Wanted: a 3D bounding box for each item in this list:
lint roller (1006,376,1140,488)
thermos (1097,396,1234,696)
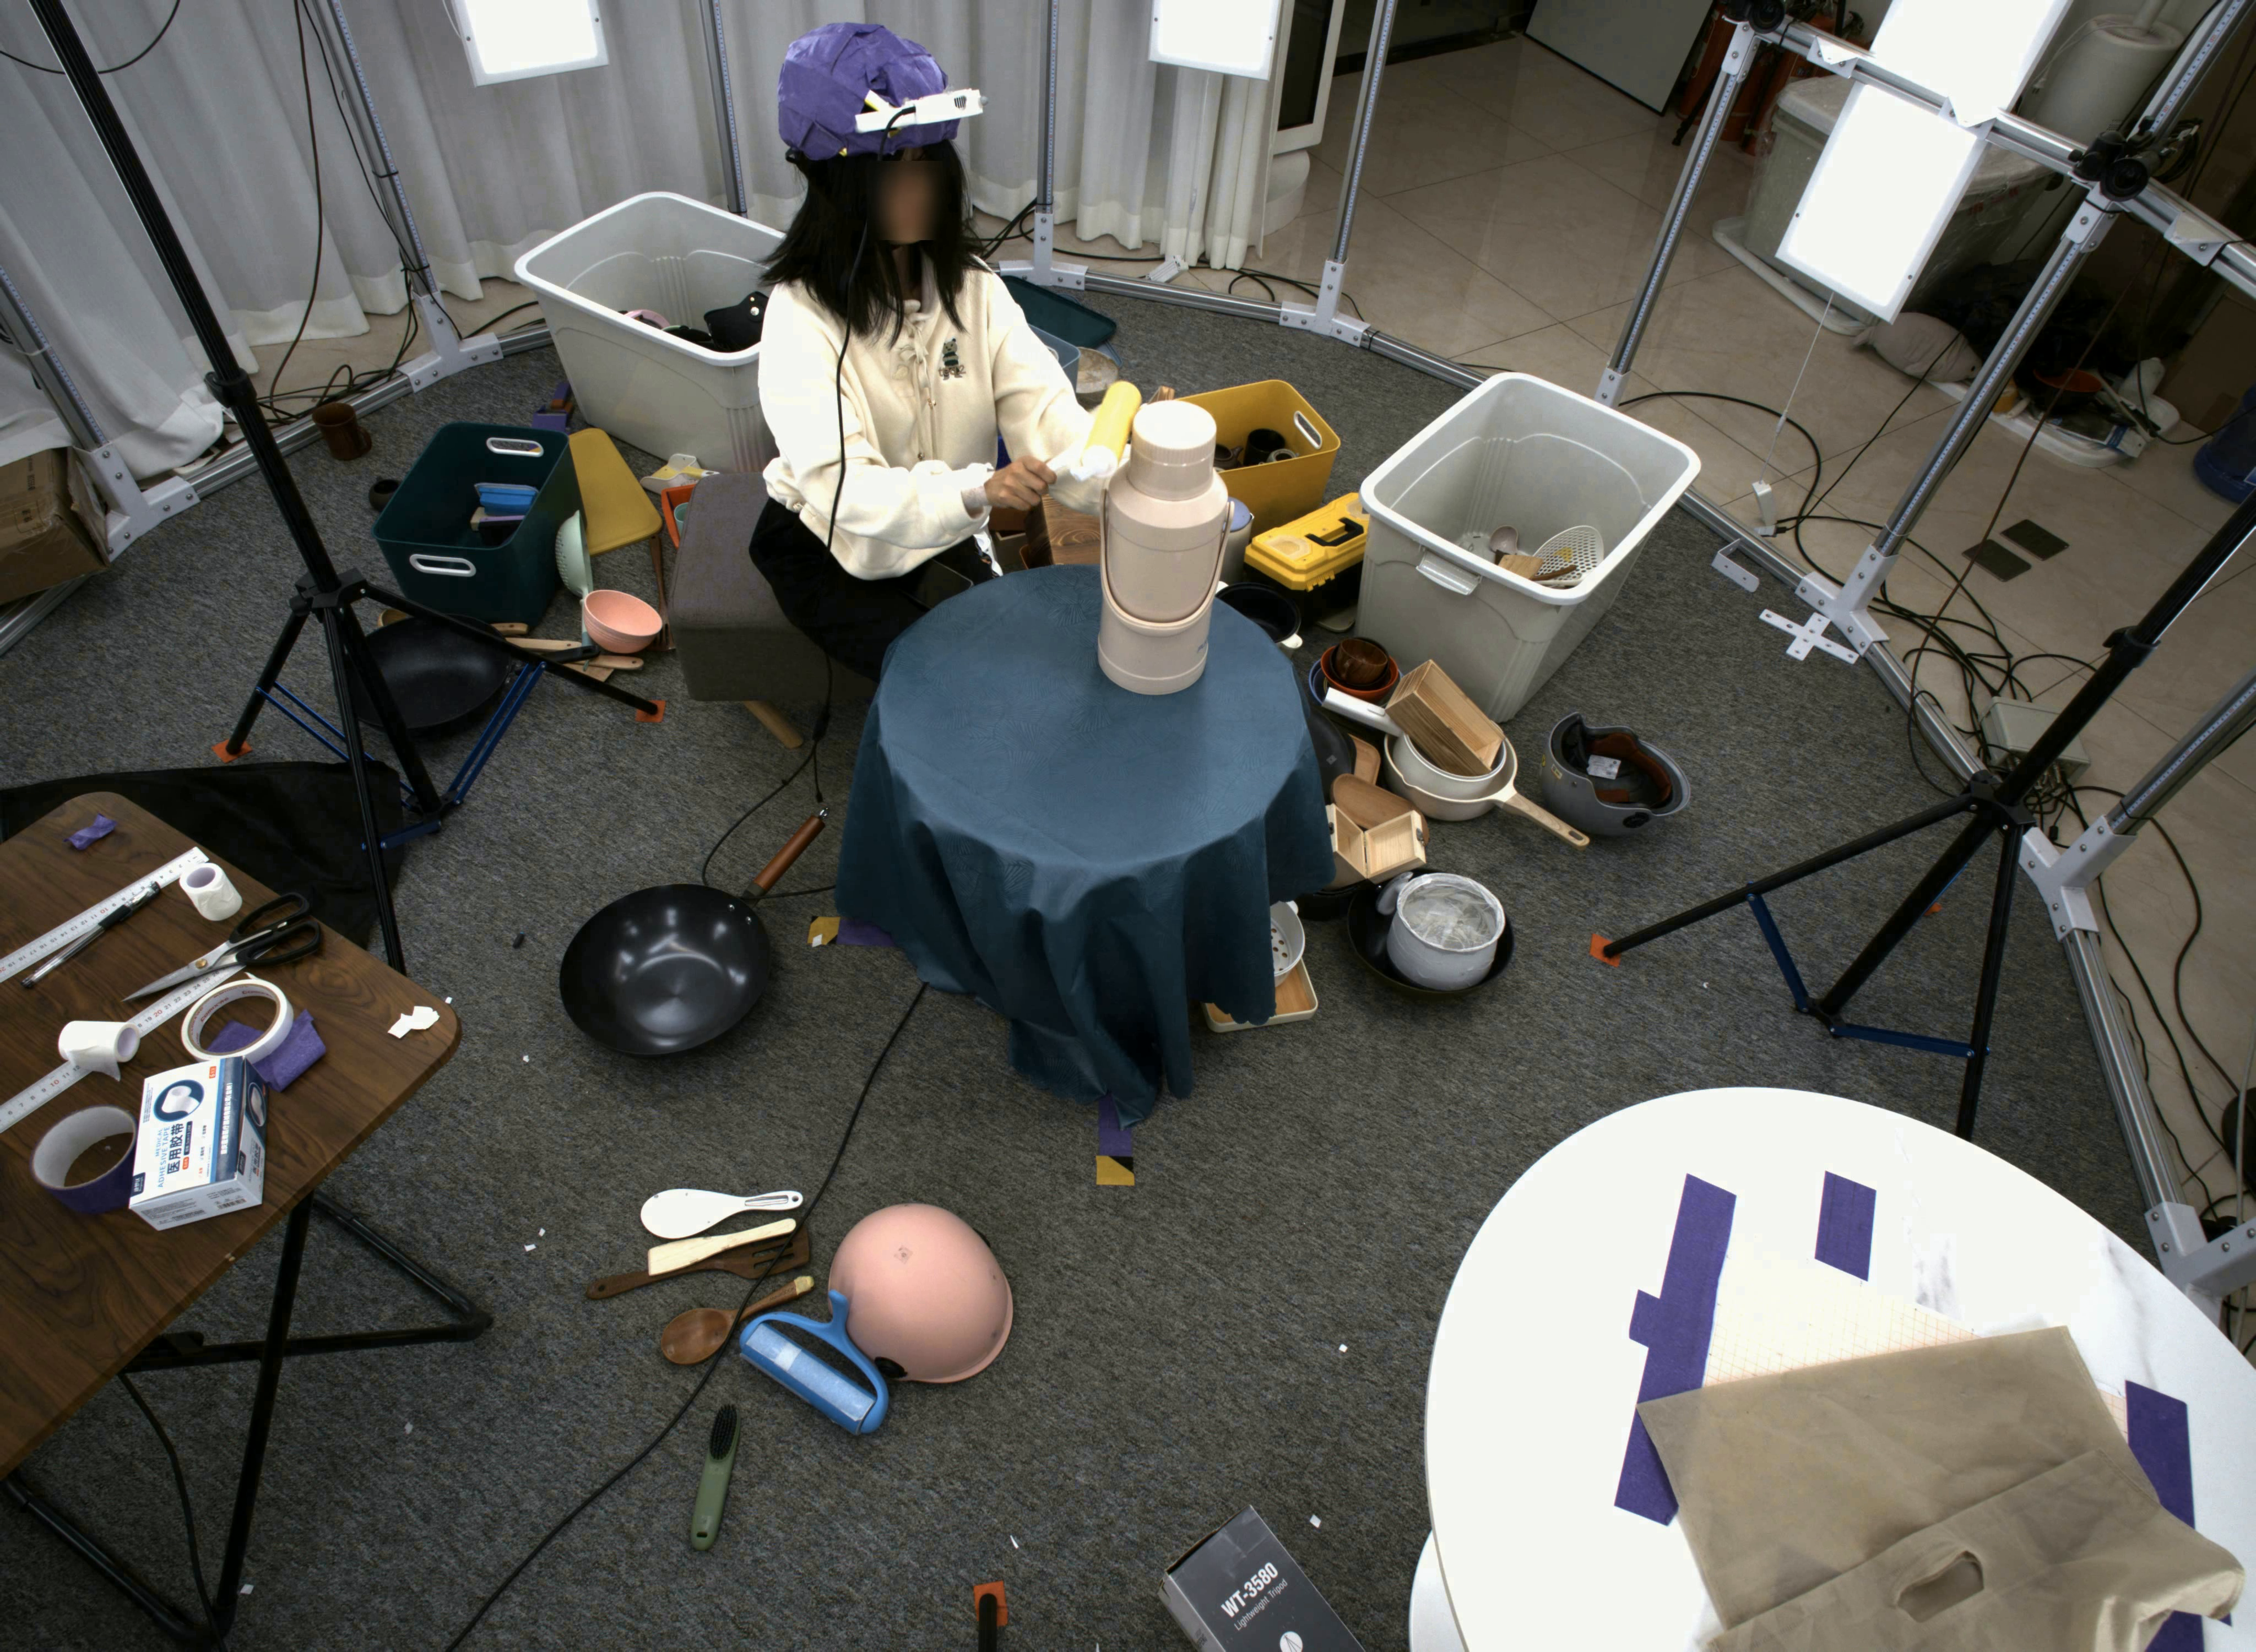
[{"bbox_3d":[-0.082,-0.483,1.642,0.192,0.050,0.178,-14,39,26],"label":"lint roller"},{"bbox_3d":[0.049,-0.383,1.750,0.175,0.396,0.212,6,49,1],"label":"thermos"}]
